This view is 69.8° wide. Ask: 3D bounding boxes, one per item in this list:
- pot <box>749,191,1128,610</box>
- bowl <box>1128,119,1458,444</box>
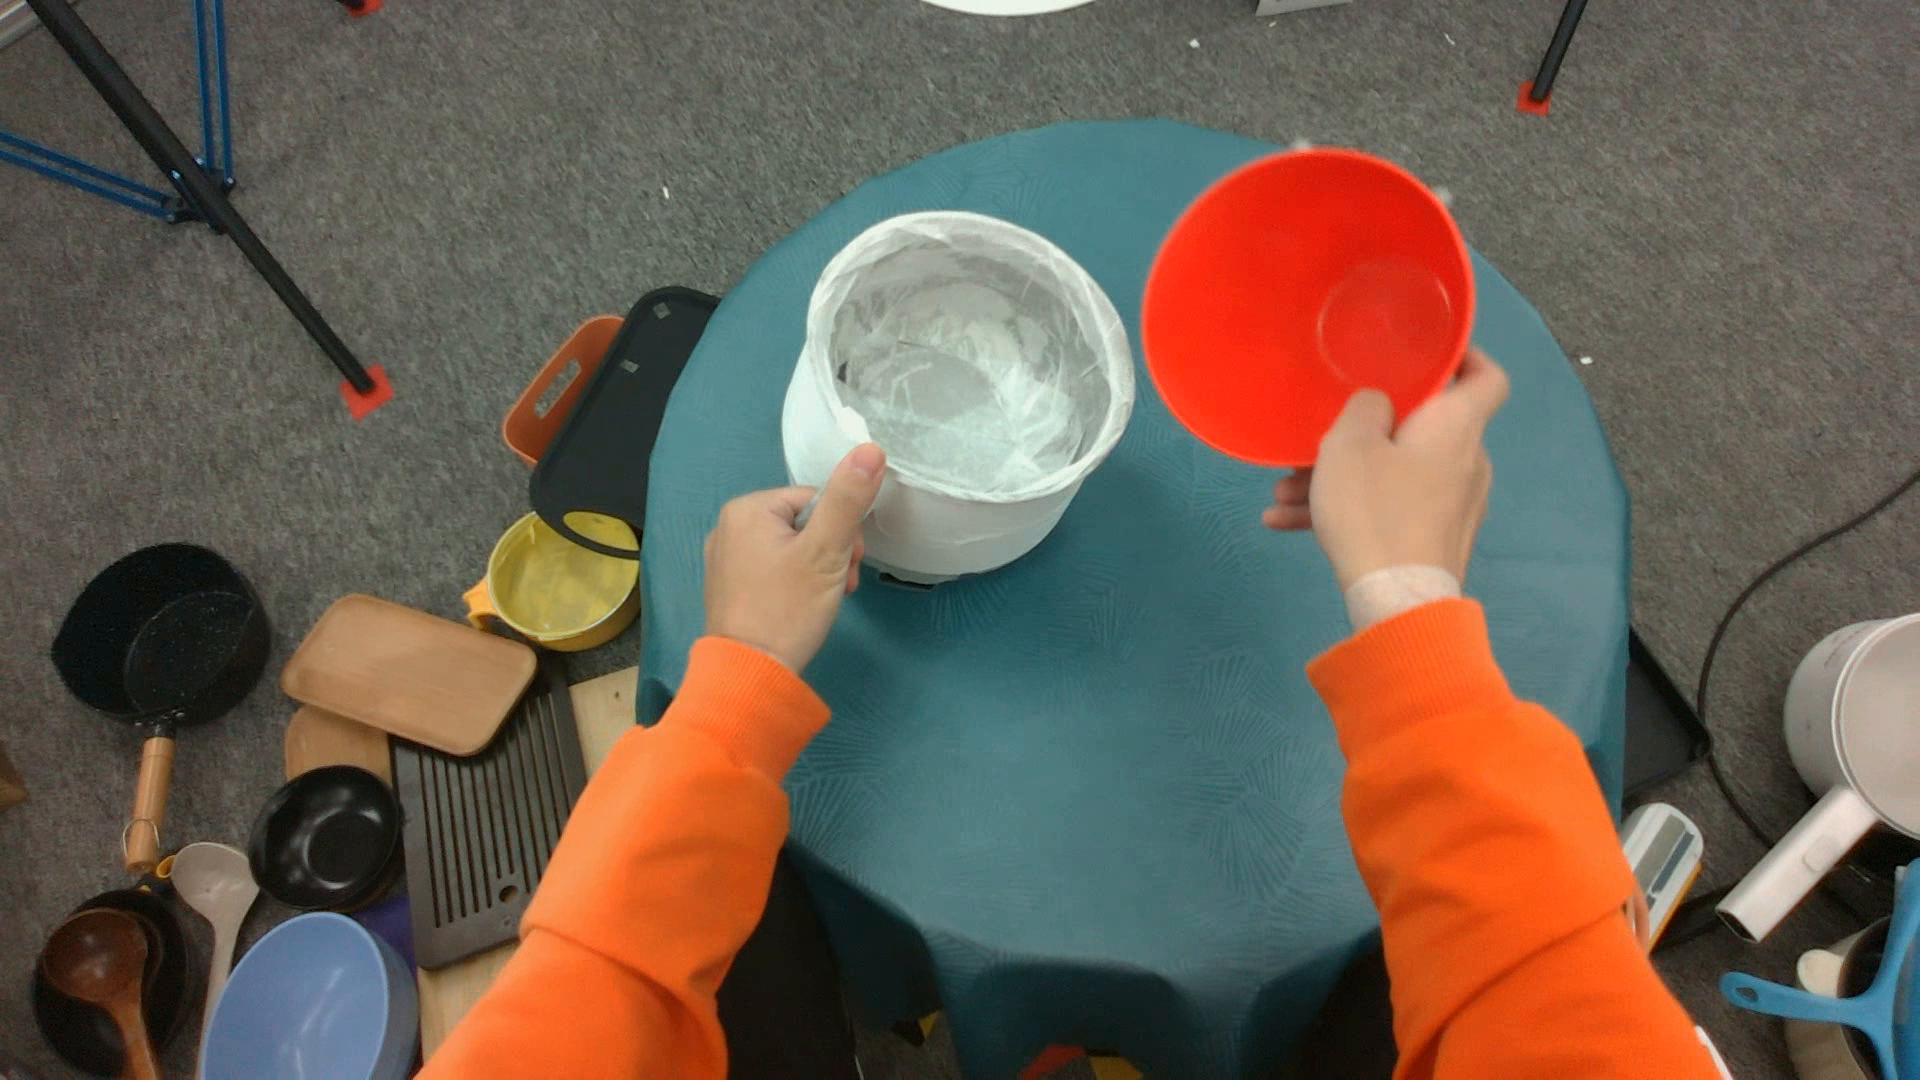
[{"bbox_3d":[-0.027,-0.064,0.756,0.179,0.136,0.235,37,62,3],"label":"pot"},{"bbox_3d":[0.171,-0.120,0.662,0.147,0.105,0.148,3,95,36],"label":"bowl"}]
